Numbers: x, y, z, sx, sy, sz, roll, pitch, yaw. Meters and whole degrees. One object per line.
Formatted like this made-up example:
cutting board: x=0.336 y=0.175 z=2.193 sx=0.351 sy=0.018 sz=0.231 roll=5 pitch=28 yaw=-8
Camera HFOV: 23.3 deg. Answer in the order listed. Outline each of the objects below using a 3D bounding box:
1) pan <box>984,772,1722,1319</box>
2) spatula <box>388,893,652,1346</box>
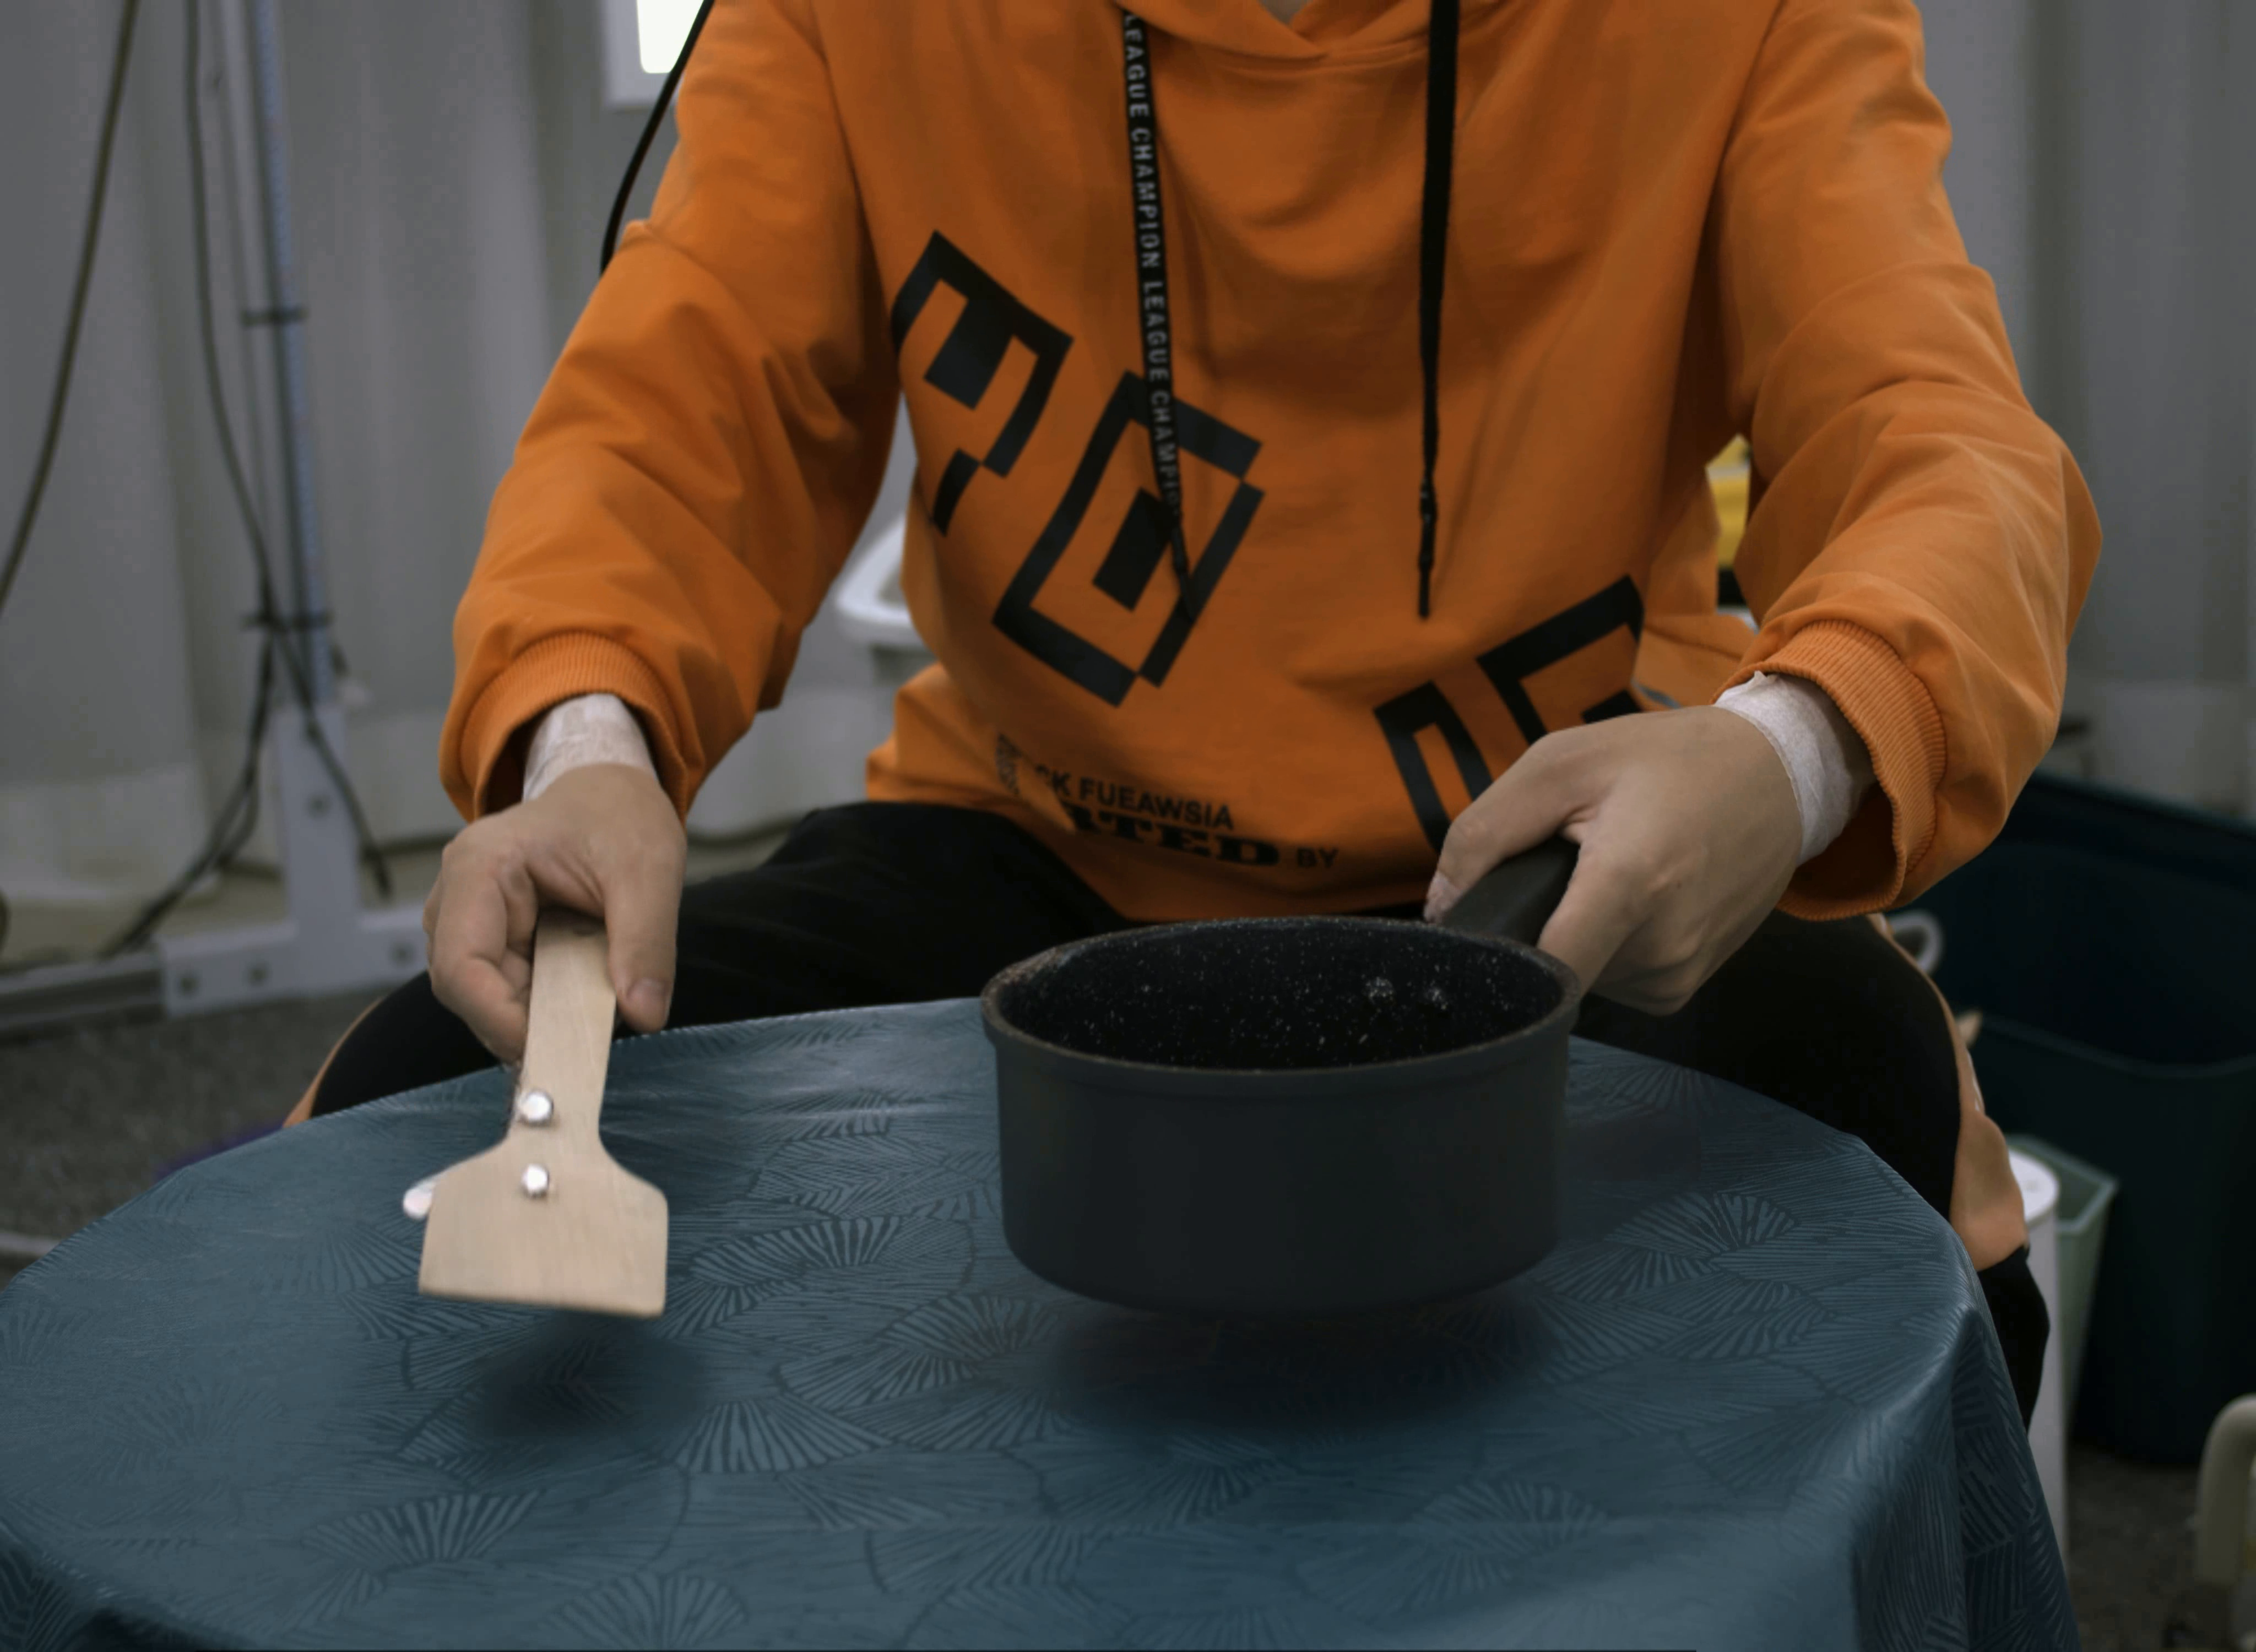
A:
pan: x=0.087 y=0.062 z=1.625 sx=0.172 sy=0.086 sz=0.329 roll=7 pitch=18 yaw=32
spatula: x=-0.175 y=0.086 z=1.673 sx=0.072 sy=0.010 sz=0.296 roll=0 pitch=25 yaw=0
